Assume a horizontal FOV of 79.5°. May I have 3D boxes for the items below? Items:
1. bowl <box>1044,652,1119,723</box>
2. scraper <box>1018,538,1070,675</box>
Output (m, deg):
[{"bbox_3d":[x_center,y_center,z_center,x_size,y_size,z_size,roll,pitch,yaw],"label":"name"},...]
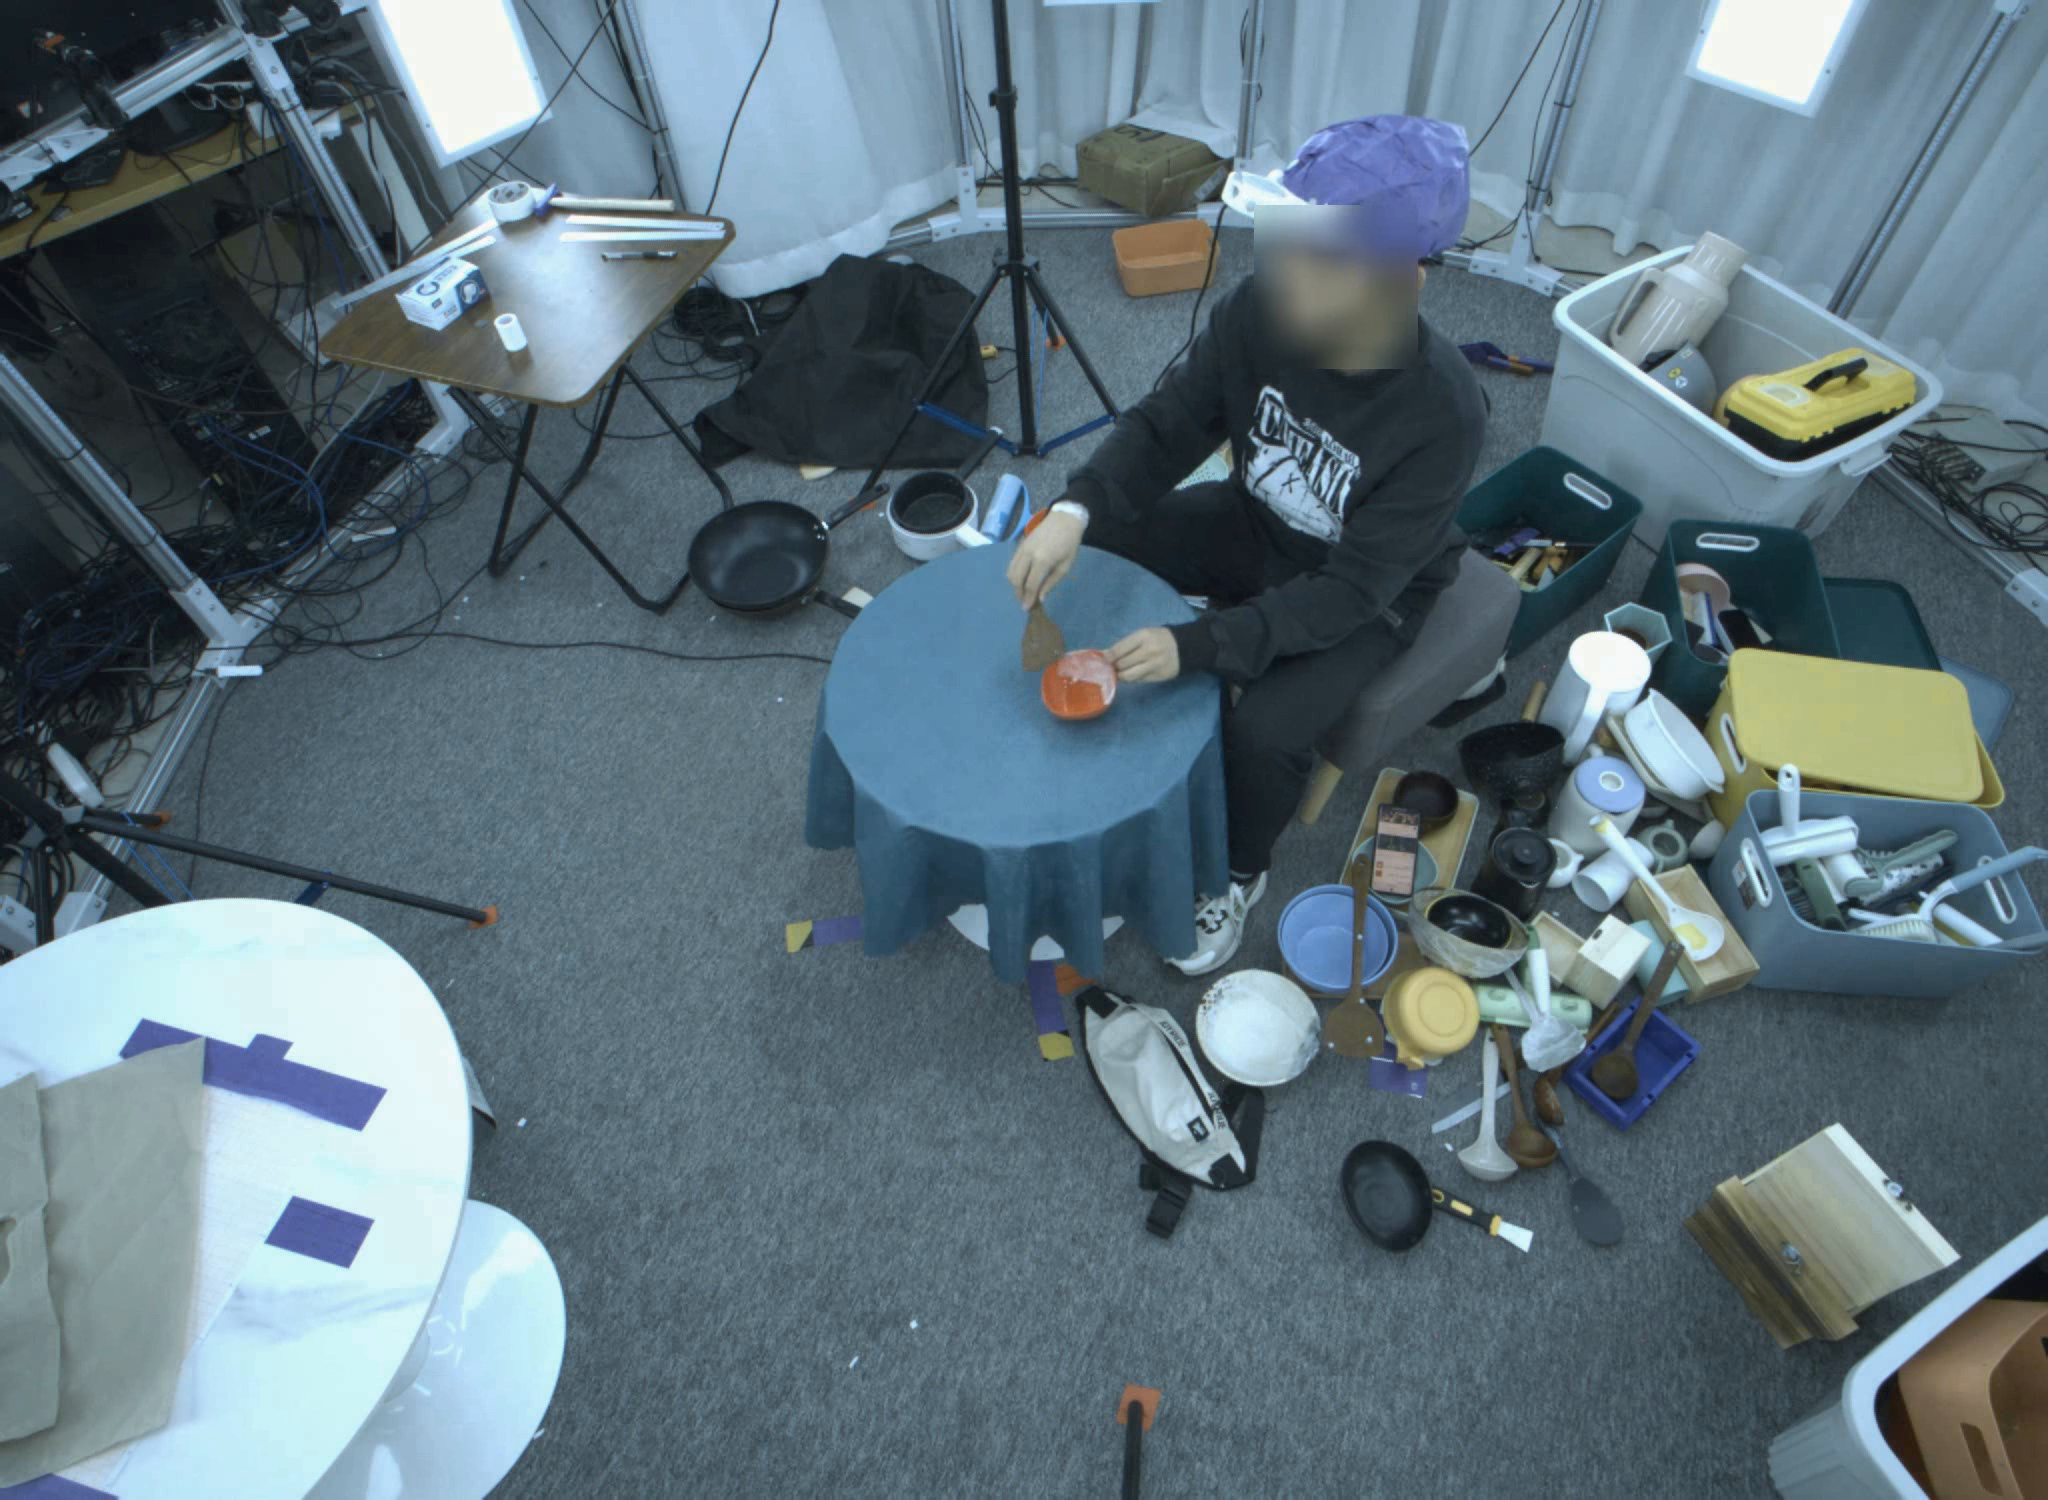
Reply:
[{"bbox_3d":[0.089,-0.083,1.808,0.118,0.052,0.118,-7,61,14],"label":"bowl"},{"bbox_3d":[0.019,-0.214,1.805,0.075,0.011,0.210,-18,75,27],"label":"scraper"}]
